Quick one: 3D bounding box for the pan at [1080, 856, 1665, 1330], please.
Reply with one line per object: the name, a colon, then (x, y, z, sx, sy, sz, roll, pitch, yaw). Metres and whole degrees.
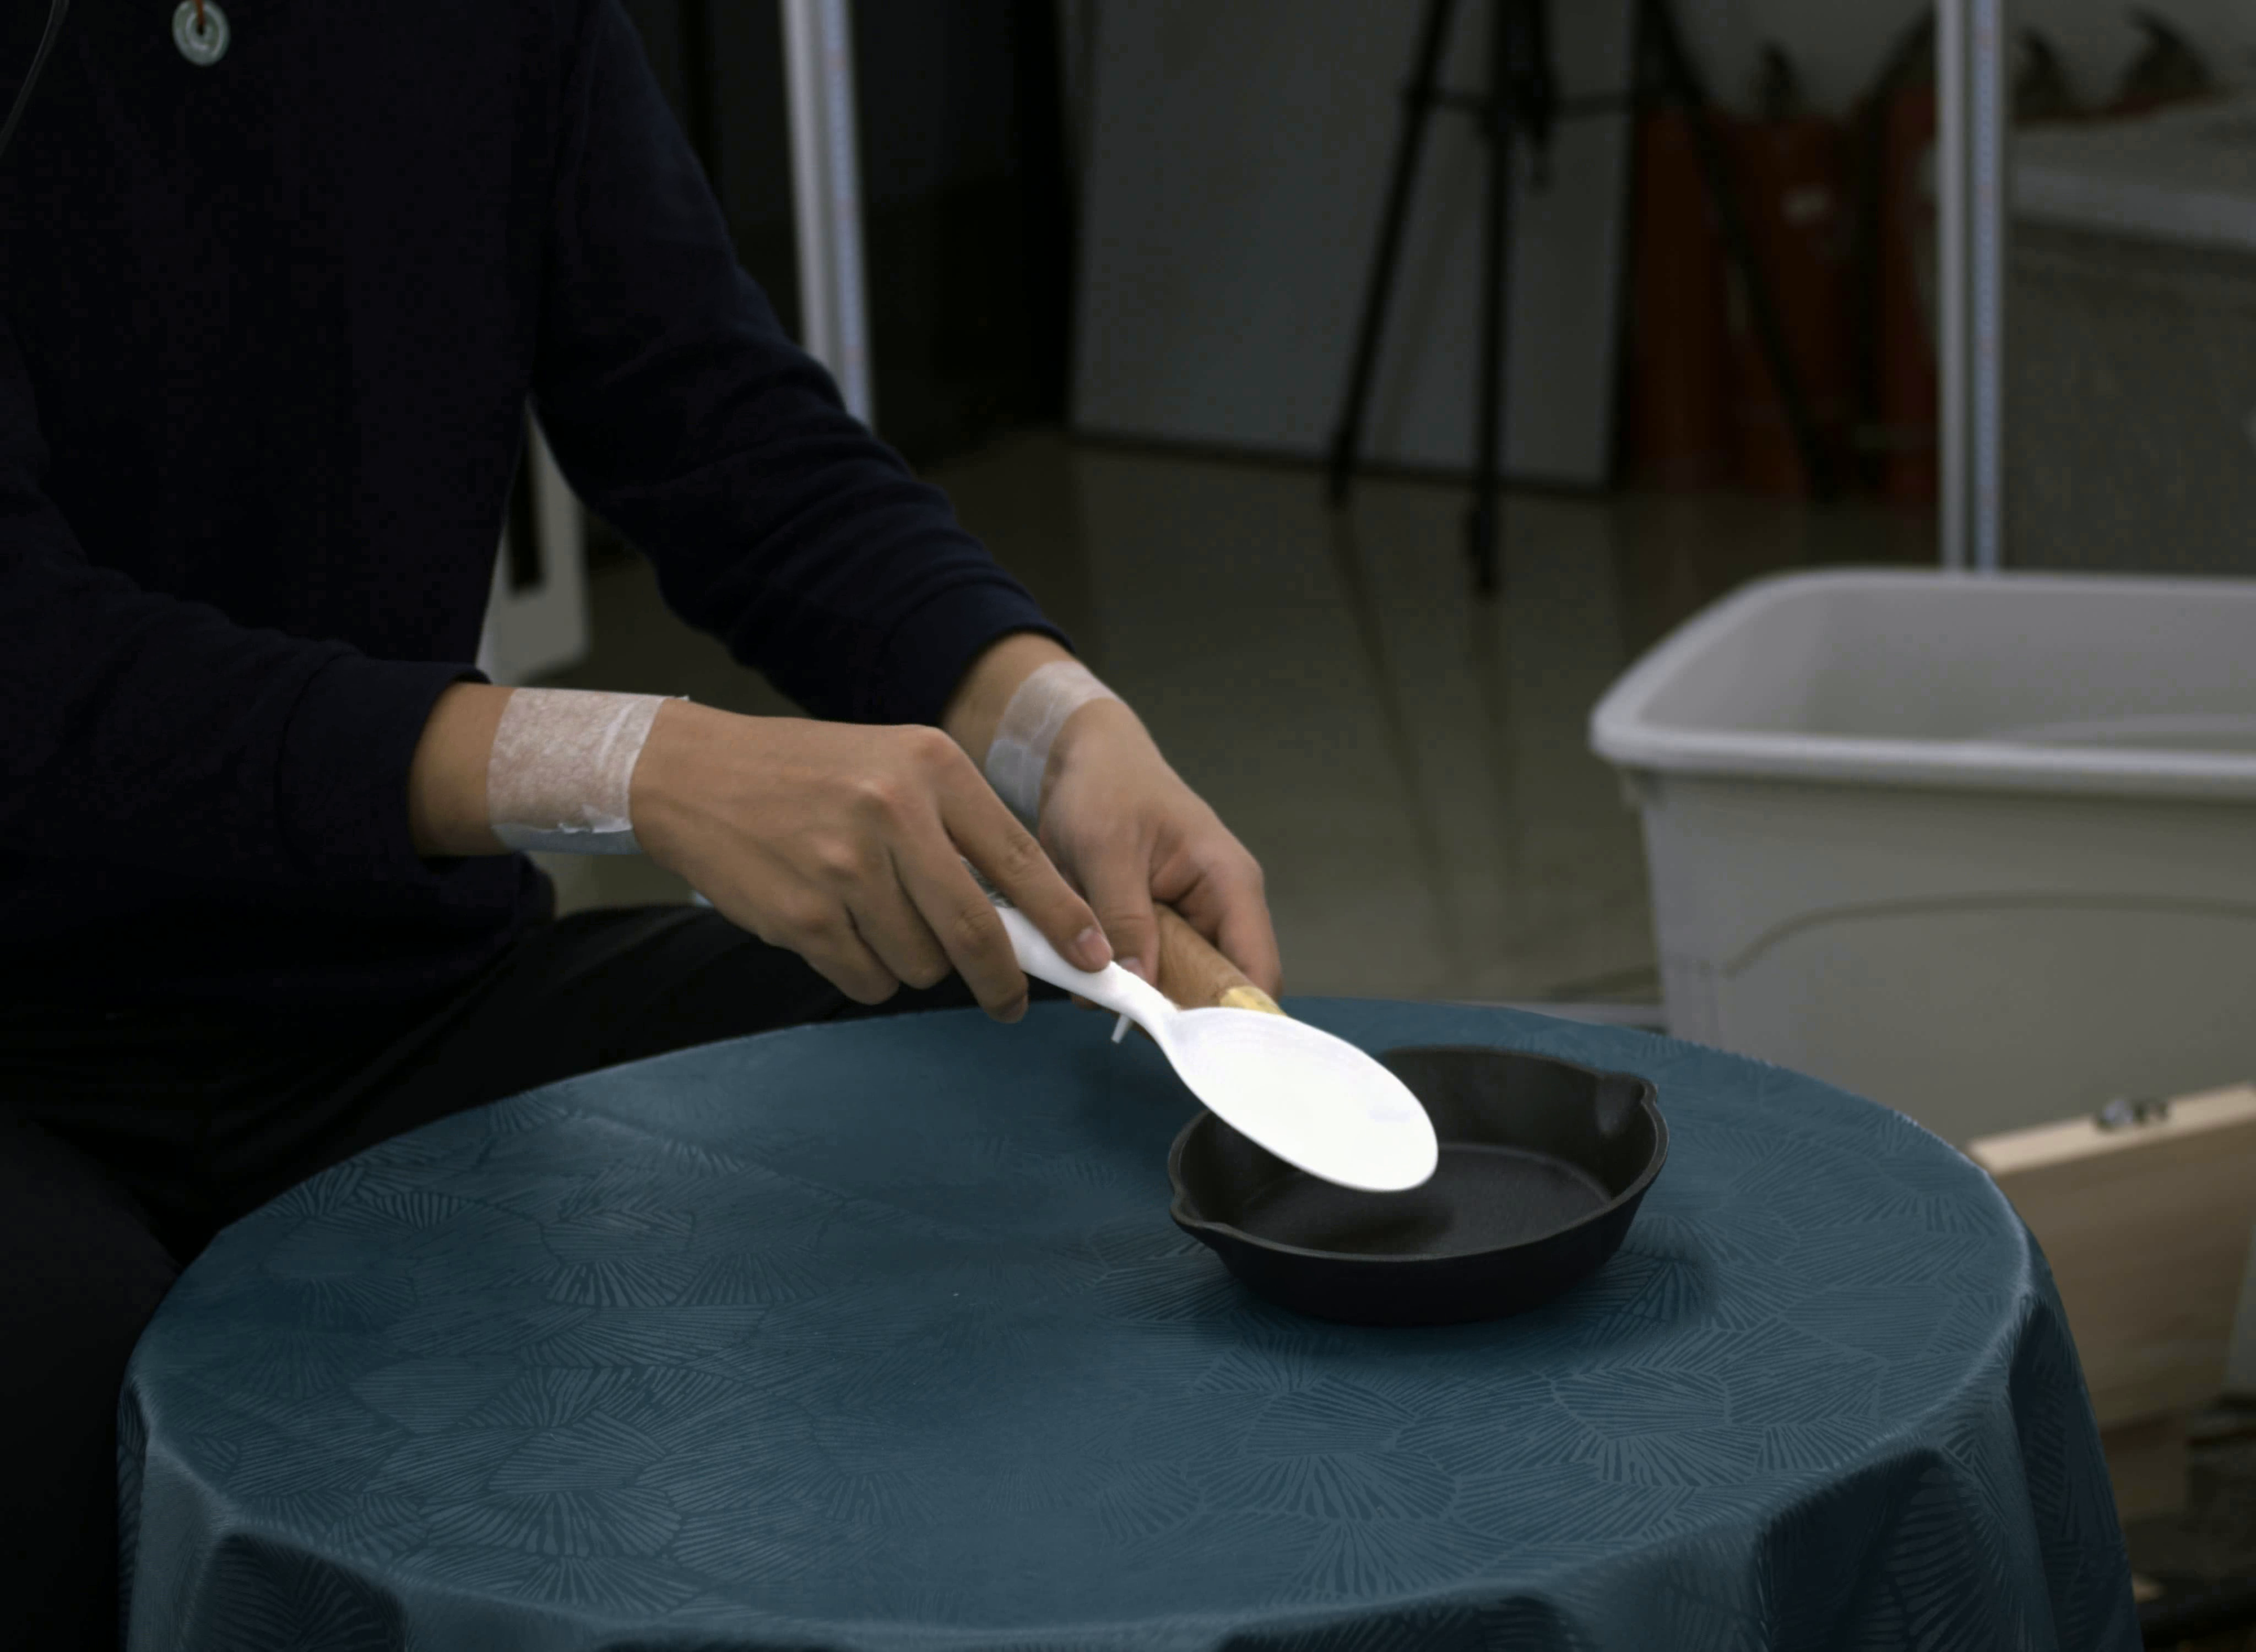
pan: (0.057, 0.082, 1.747, 0.165, 0.050, 0.327, -13, 23, -19)

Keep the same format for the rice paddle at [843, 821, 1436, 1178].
rice paddle: (0.006, 0.056, 1.701, 0.204, 0.030, 0.068, 26, 37, 8)
